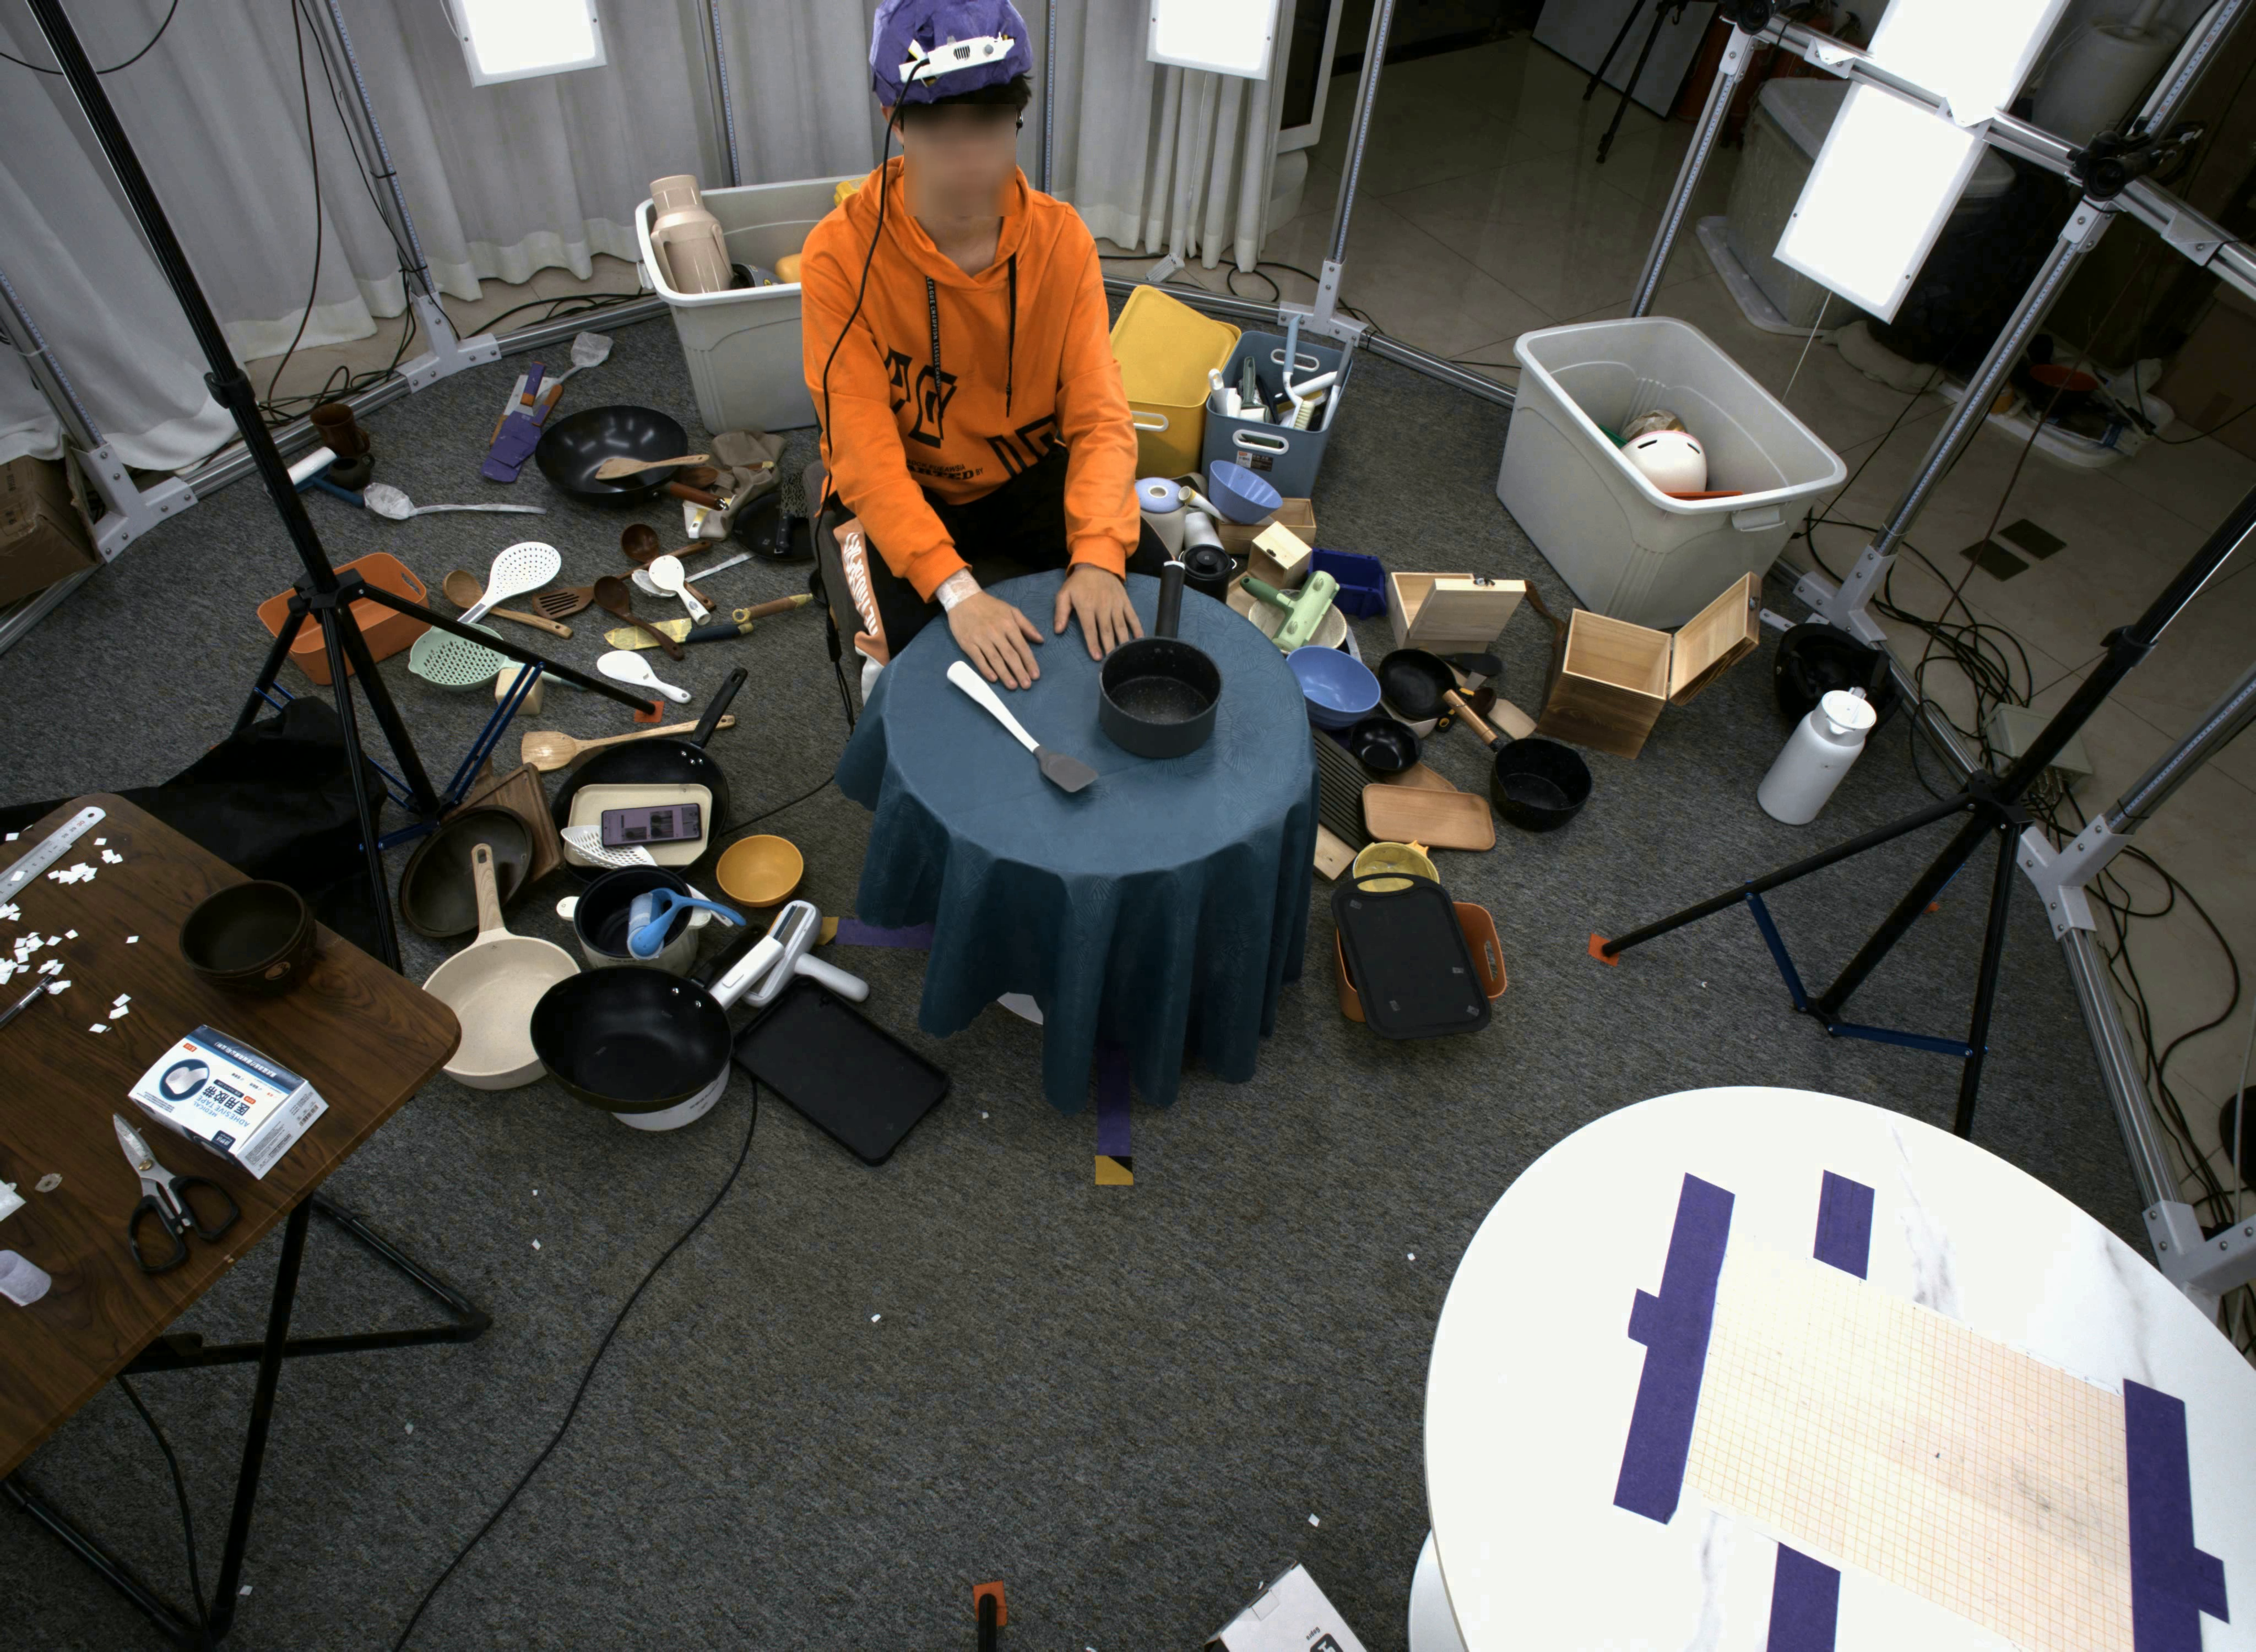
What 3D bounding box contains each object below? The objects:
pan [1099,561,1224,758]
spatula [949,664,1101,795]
[{"bbox_3d":[0.054,-0.240,1.826,0.172,0.084,0.336,9,51,3],"label":"pan"},{"bbox_3d":[-0.147,-0.131,1.752,0.059,0.031,0.292,-29,56,-30],"label":"spatula"}]
